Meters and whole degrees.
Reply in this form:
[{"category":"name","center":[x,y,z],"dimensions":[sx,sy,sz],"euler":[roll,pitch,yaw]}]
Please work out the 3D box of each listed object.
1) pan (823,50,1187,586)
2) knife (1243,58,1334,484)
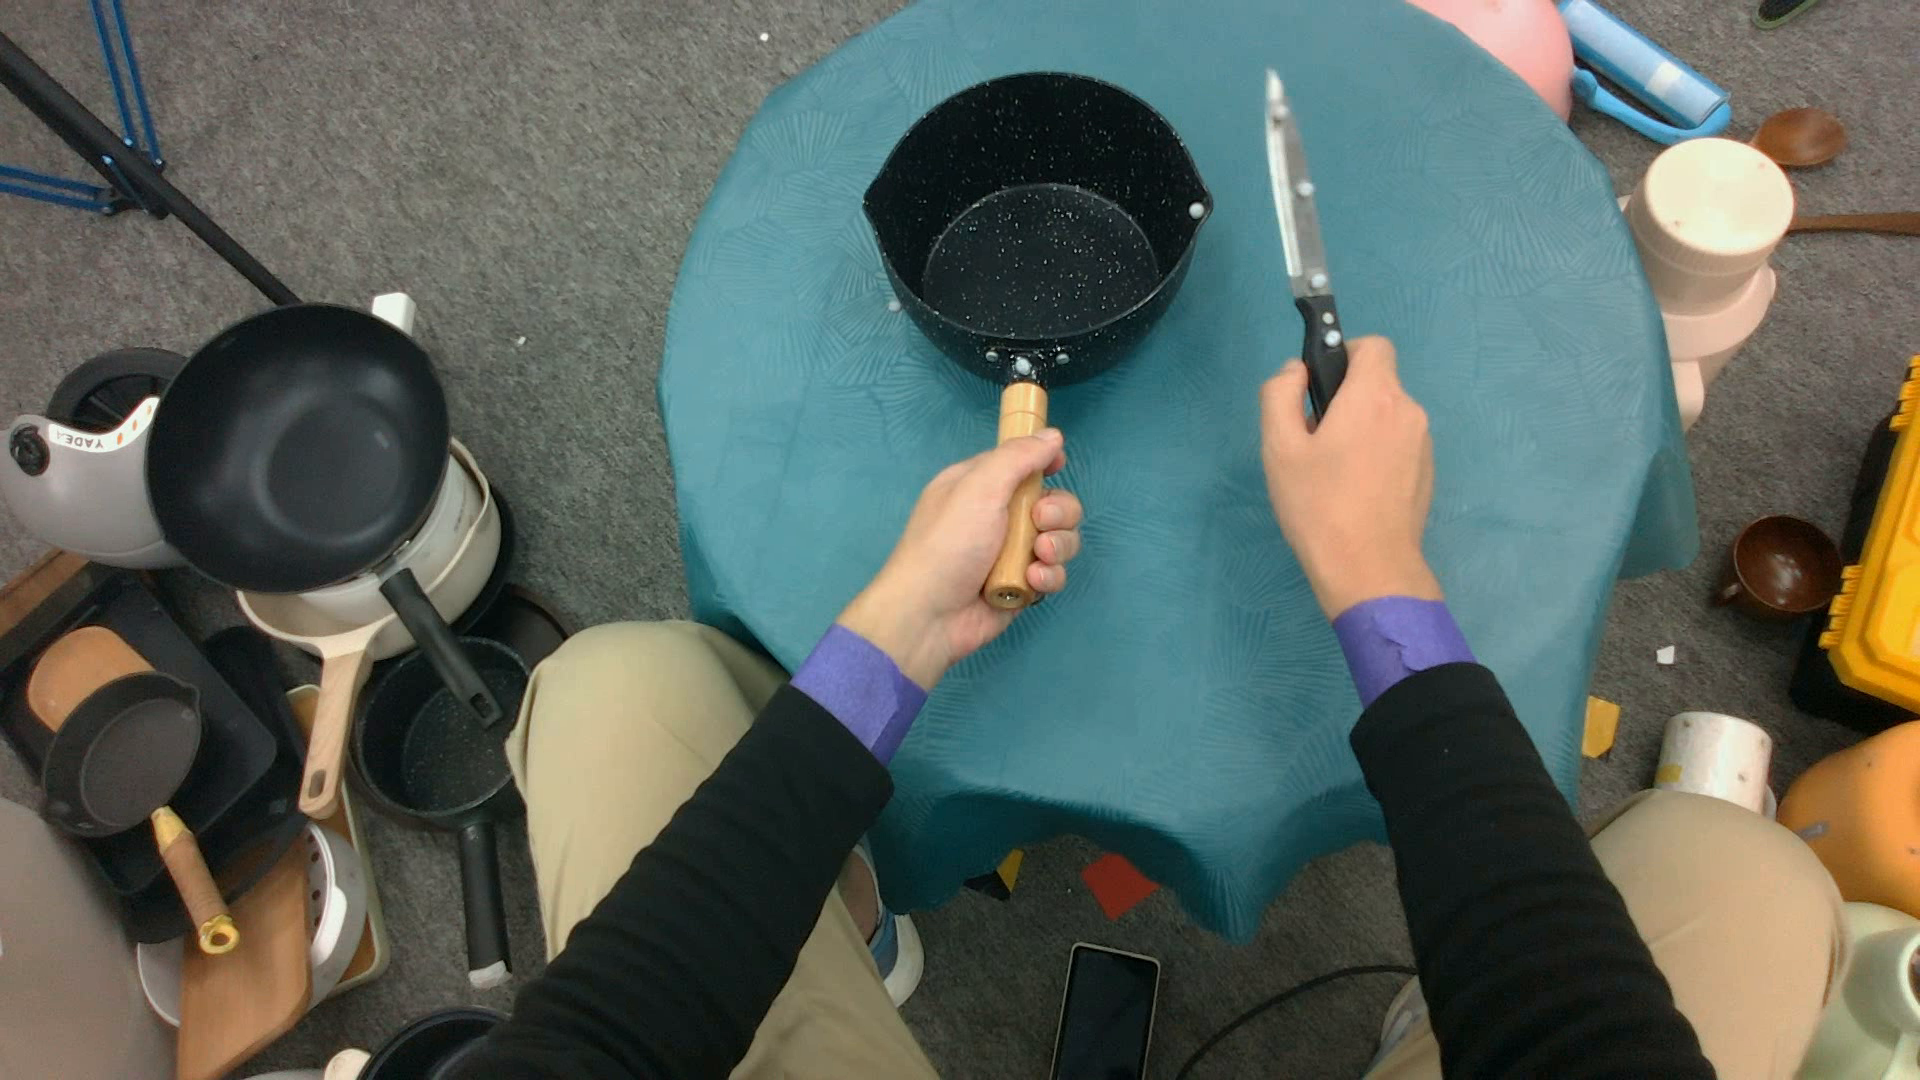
[{"category":"pan","center":[0.023,-0.119,0.776],"dimensions":[0.207,0.108,0.344],"euler":[1,66,4]},{"category":"knife","center":[0.175,-0.147,0.738],"dimensions":[0.024,0.016,0.238],"euler":[-5,82,-11]}]
